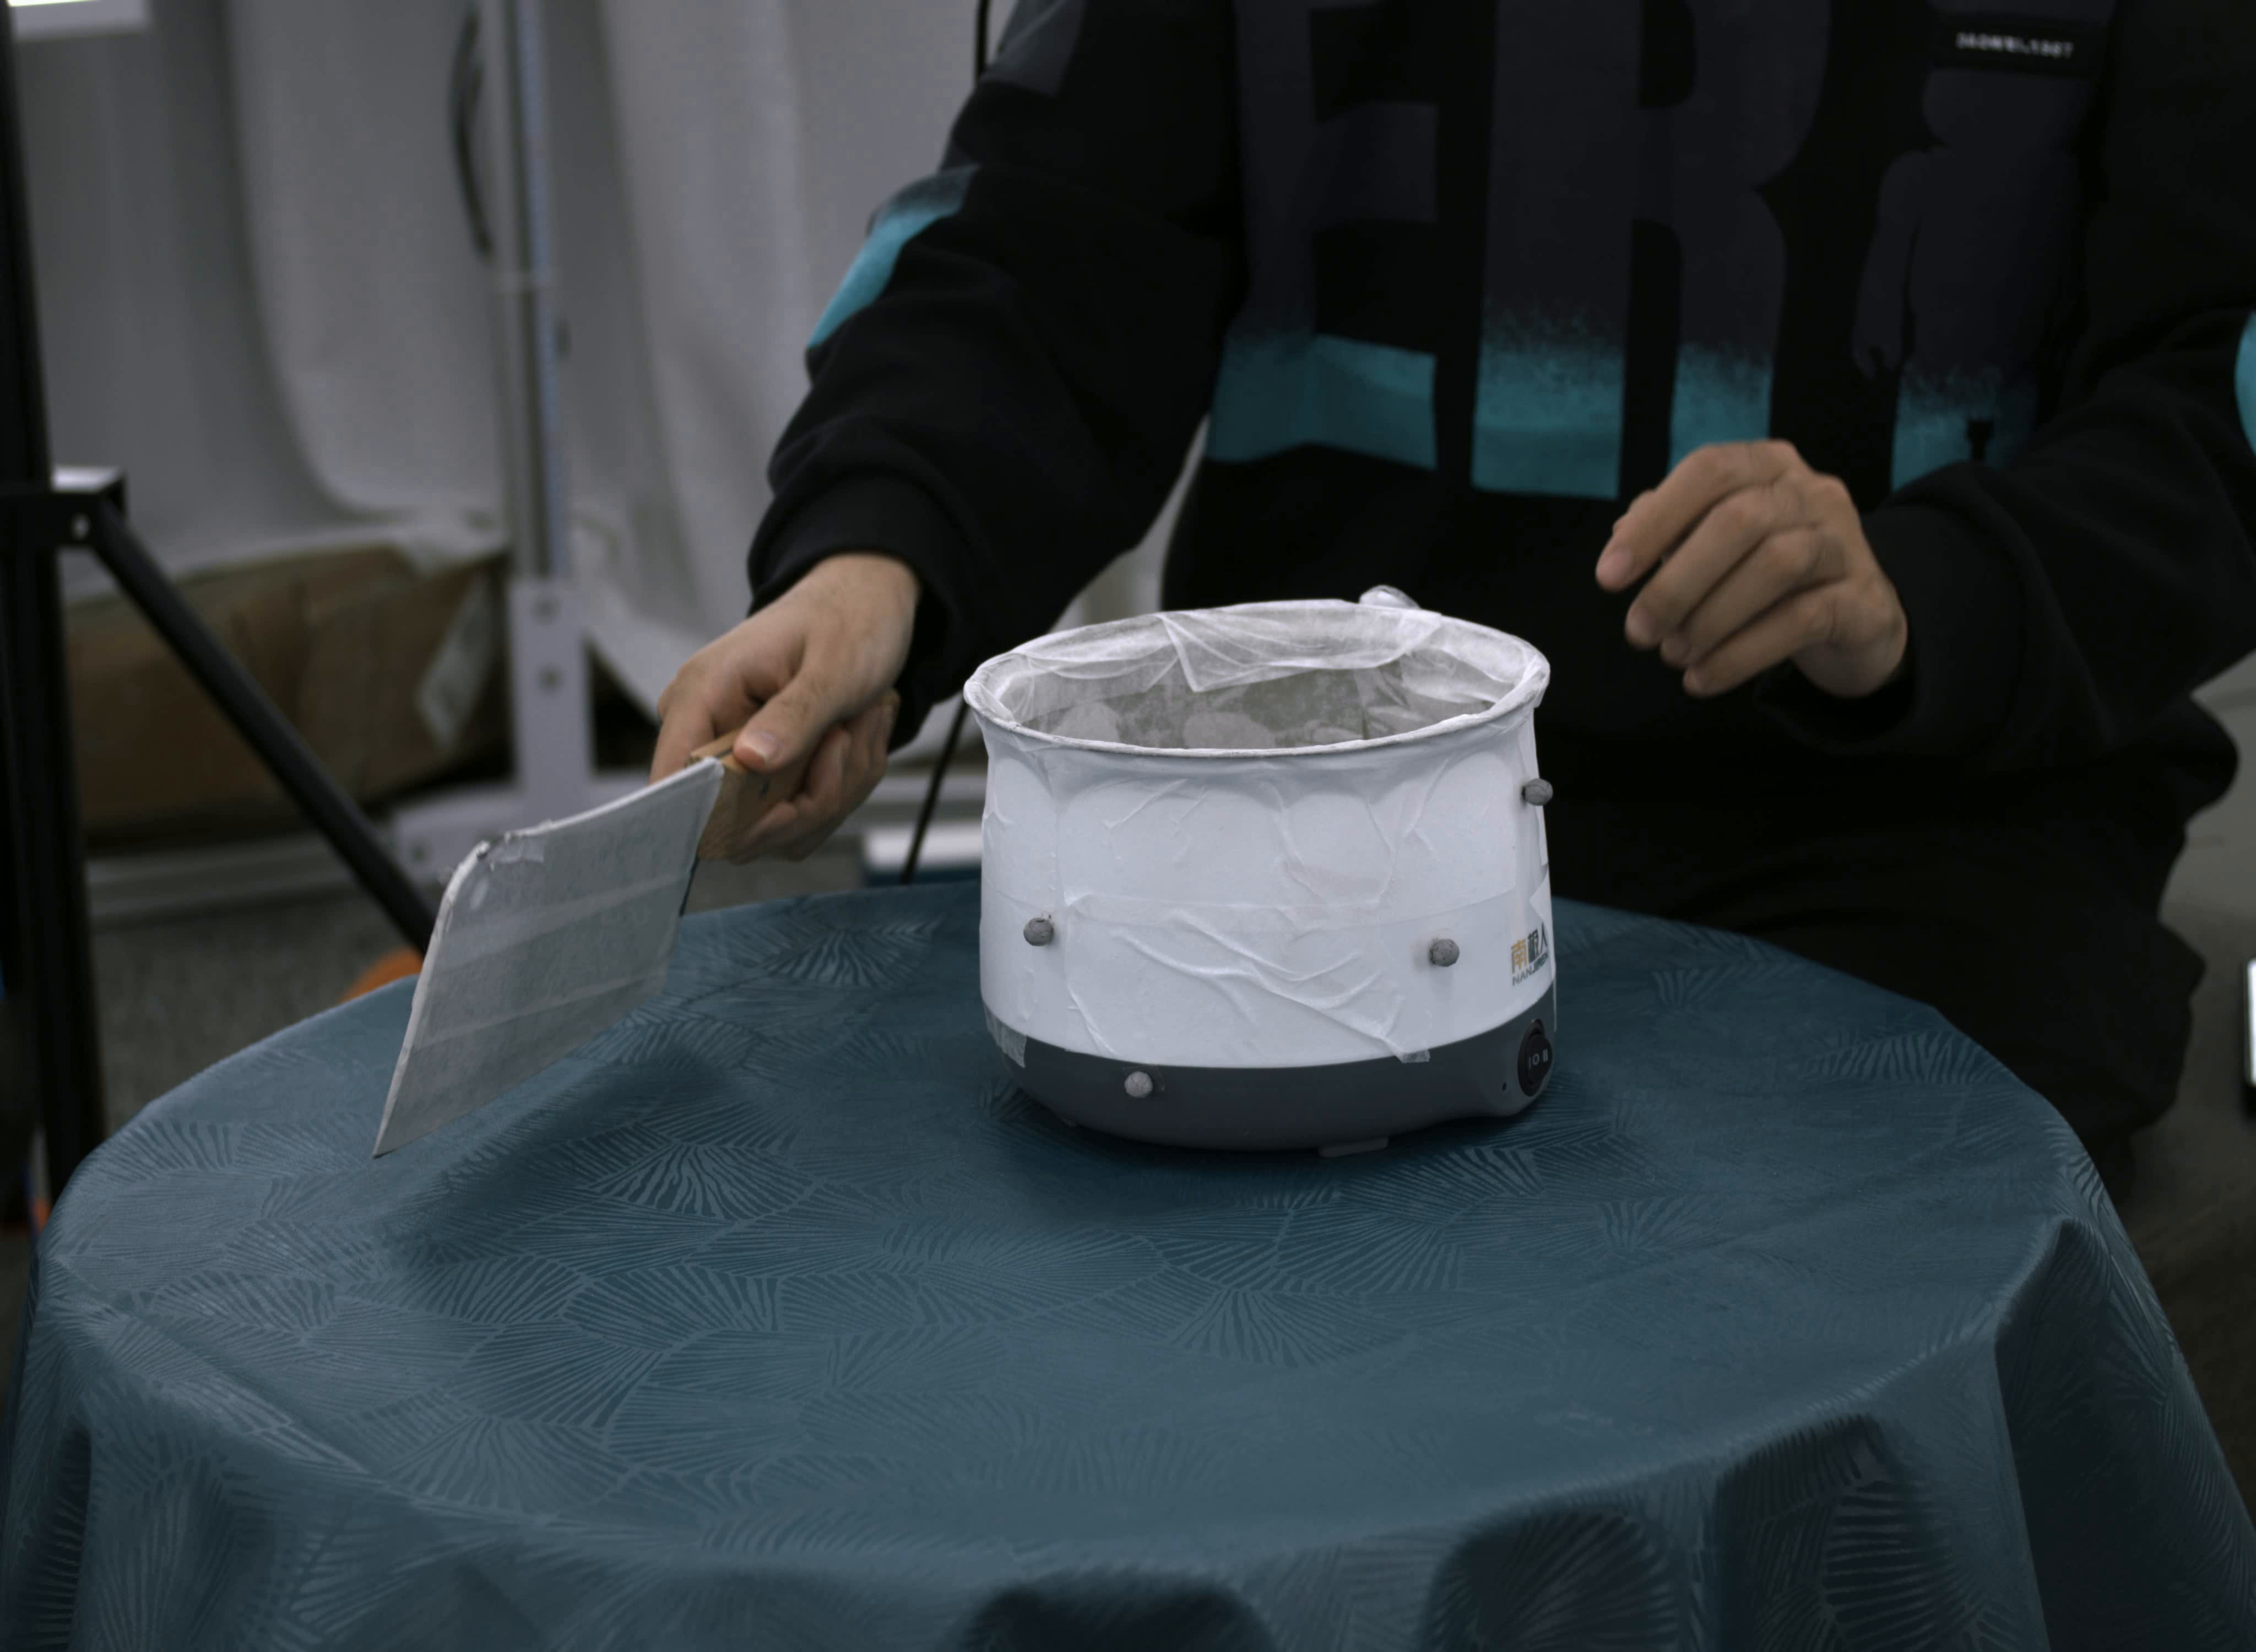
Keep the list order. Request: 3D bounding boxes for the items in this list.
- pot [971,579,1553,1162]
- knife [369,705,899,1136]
[{"bbox_3d":[0.053,0.007,1.649,0.181,0.136,0.230,6,19,24],"label":"pot"},{"bbox_3d":[-0.150,0.015,1.690,0.022,0.114,0.311,24,25,16],"label":"knife"}]
